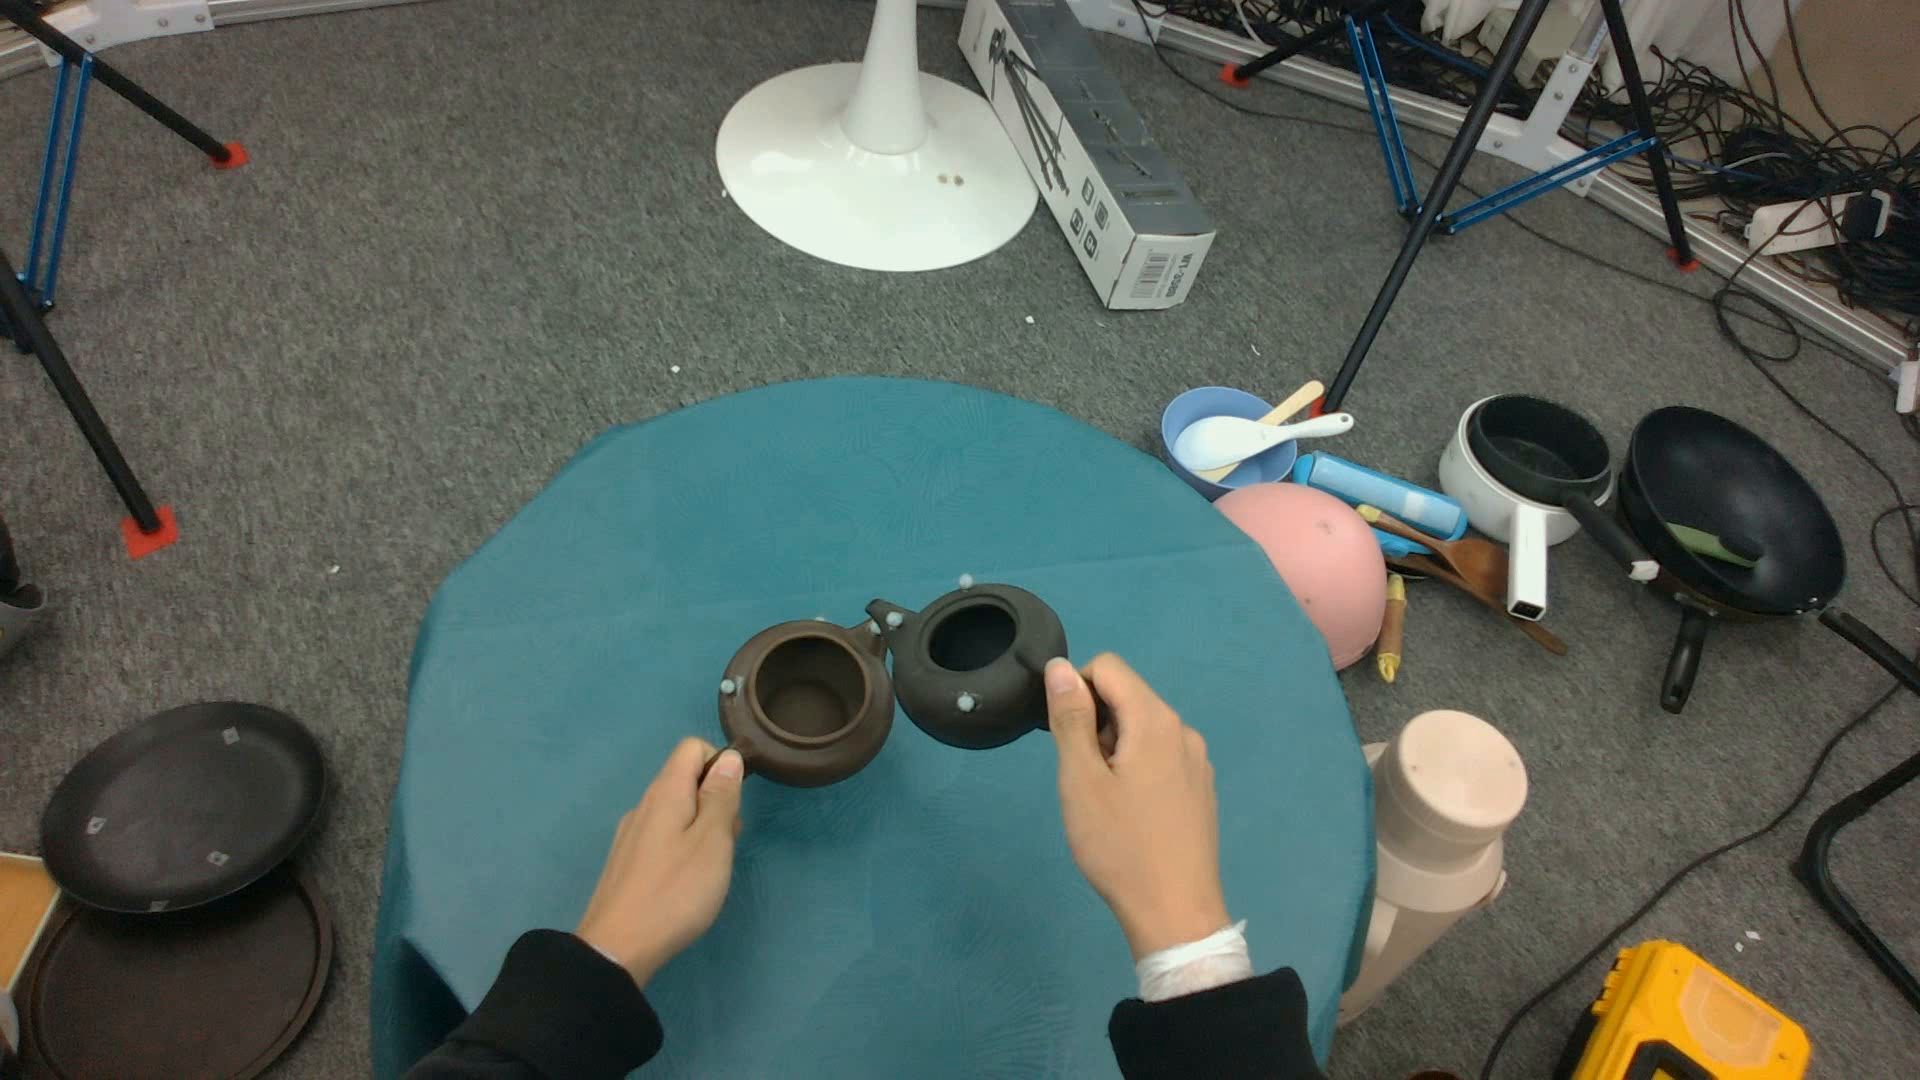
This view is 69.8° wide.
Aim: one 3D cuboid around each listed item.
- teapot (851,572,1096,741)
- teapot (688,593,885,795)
[{"bbox_3d":[0.006,0.061,0.704,0.154,0.064,0.093,18,53,37],"label":"teapot"},{"bbox_3d":[-0.098,0.090,0.793,0.102,0.053,0.154,35,57,12],"label":"teapot"}]
